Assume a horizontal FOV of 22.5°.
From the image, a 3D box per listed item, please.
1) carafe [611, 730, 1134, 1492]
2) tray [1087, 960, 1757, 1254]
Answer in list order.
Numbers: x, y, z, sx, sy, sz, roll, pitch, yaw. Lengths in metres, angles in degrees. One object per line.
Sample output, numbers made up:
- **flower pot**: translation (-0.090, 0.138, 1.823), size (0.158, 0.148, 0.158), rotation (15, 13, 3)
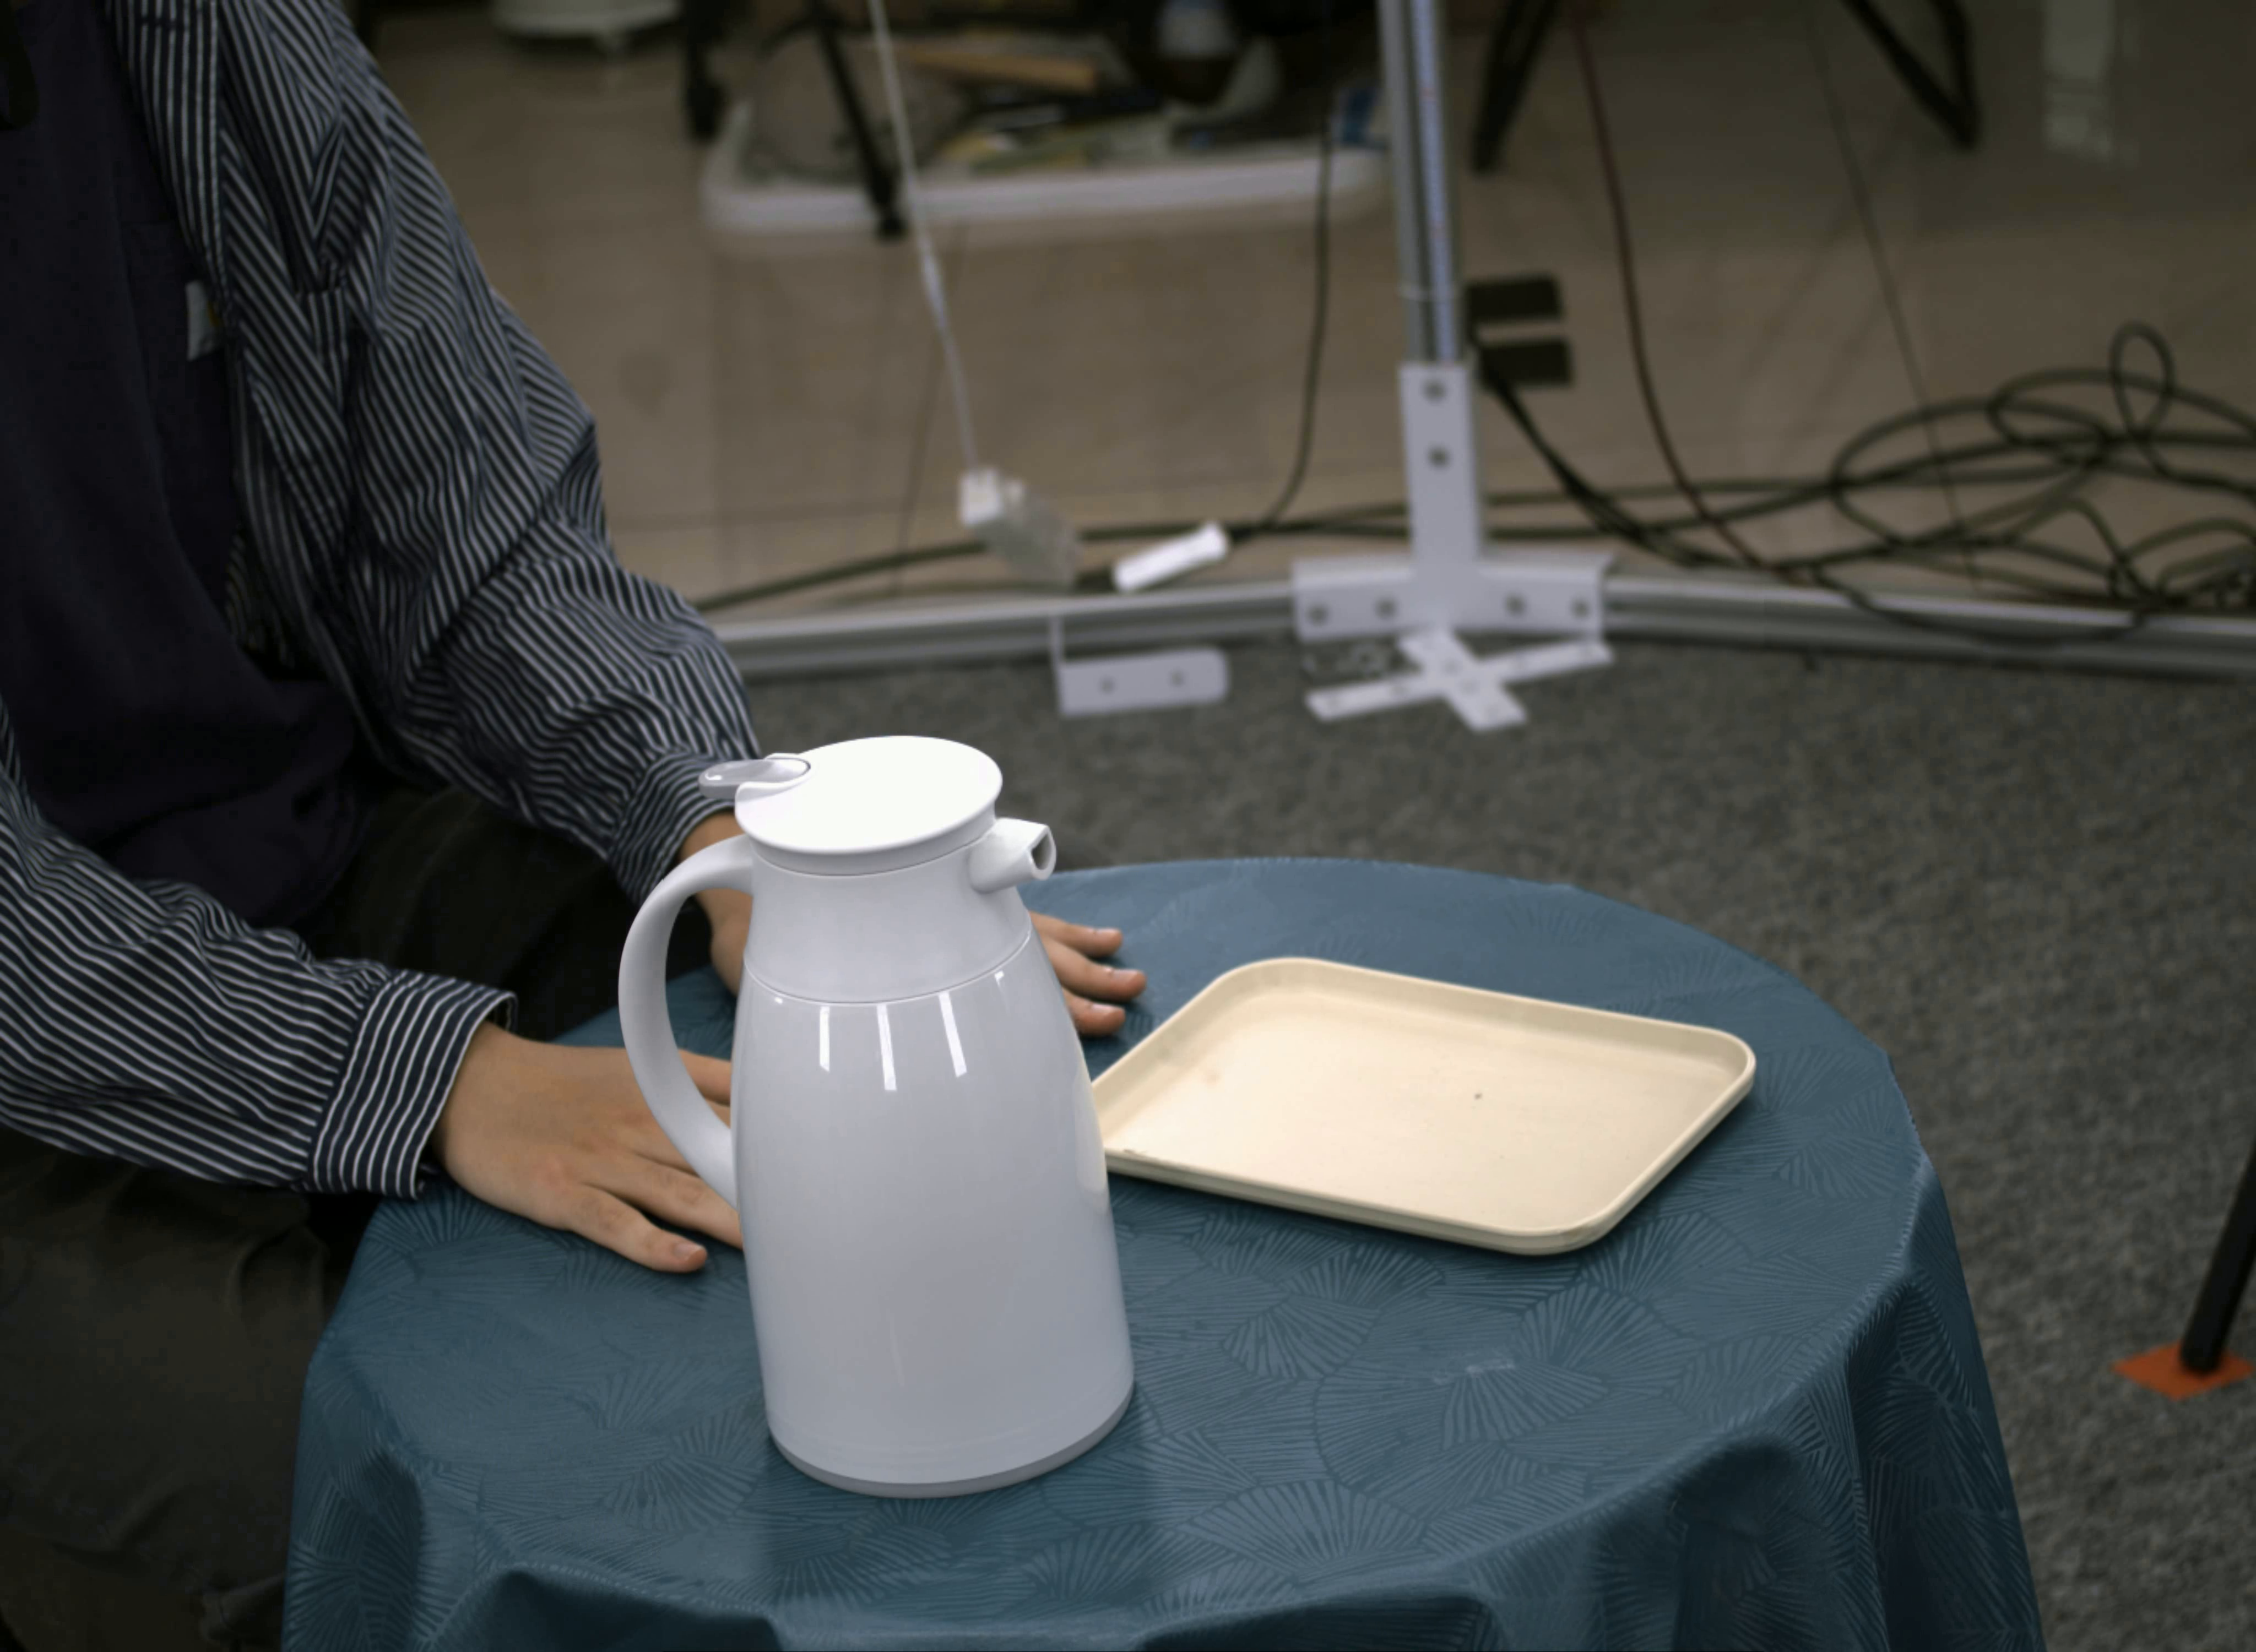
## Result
- **carafe**: translation (-0.095, 0.092, 1.974), size (0.167, 0.253, 0.130), rotation (1, 28, 17)
- **tray**: translation (0.107, 0.107, 2.172), size (0.238, 0.018, 0.169), rotation (9, 29, 31)
